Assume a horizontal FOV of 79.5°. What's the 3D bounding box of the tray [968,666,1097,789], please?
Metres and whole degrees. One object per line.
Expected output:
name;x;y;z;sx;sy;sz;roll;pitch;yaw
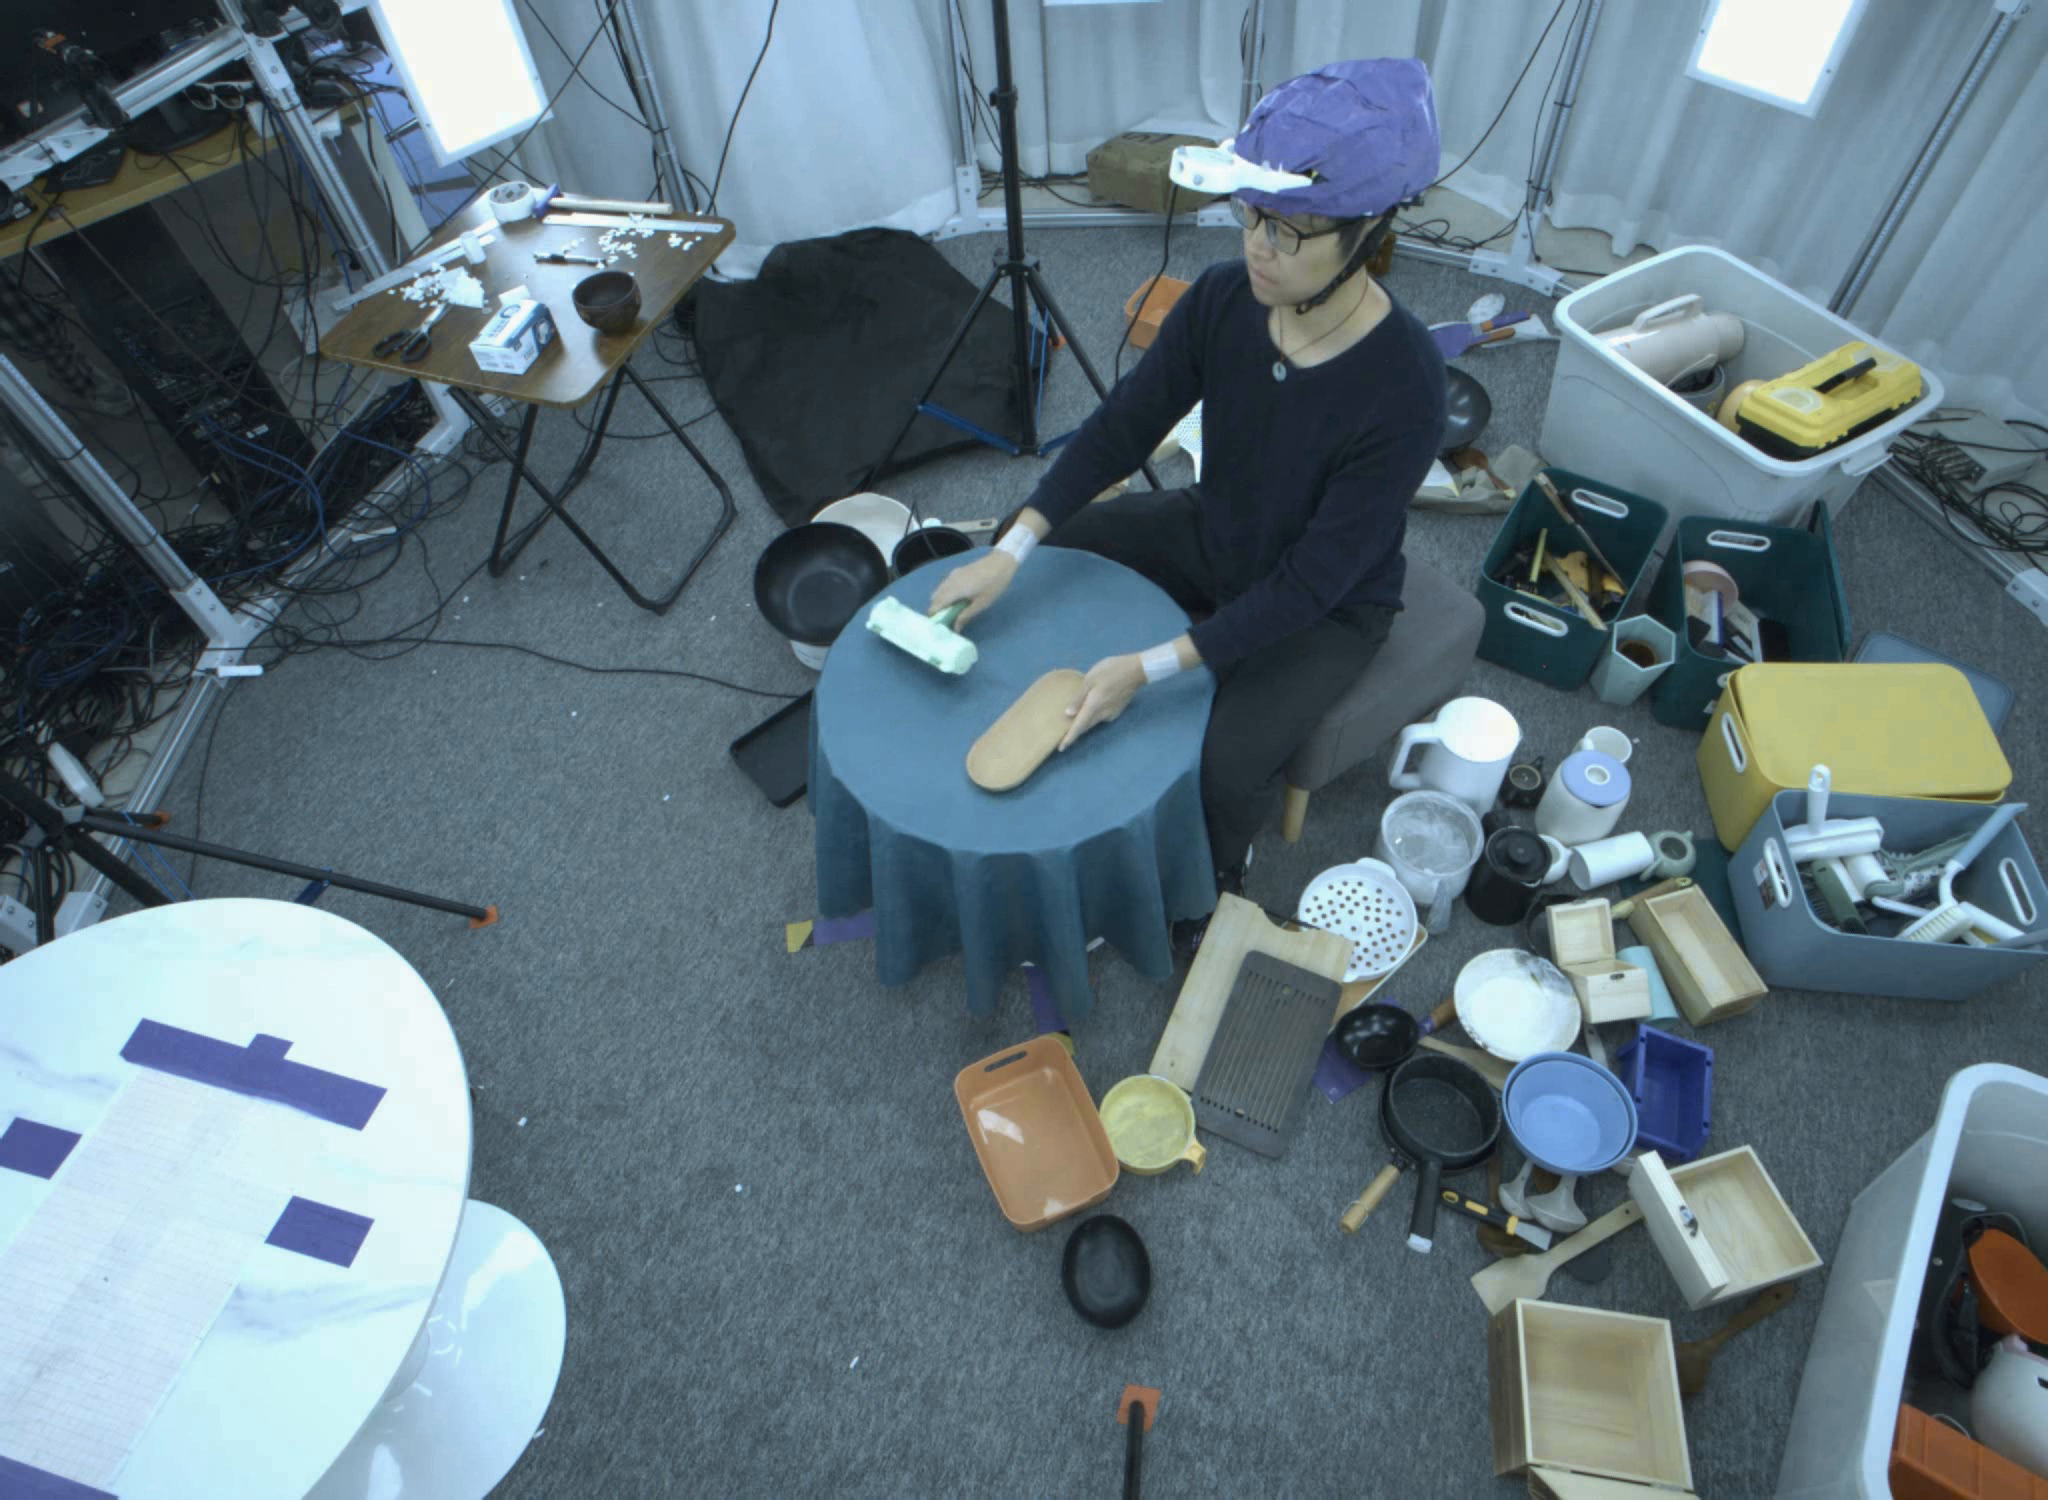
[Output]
tray;0.014;-0.034;1.780;0.099;0.020;0.232;34;69;29

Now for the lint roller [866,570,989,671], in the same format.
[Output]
lint roller;-0.125;-0.222;1.868;0.194;0.084;0.183;29;75;34
